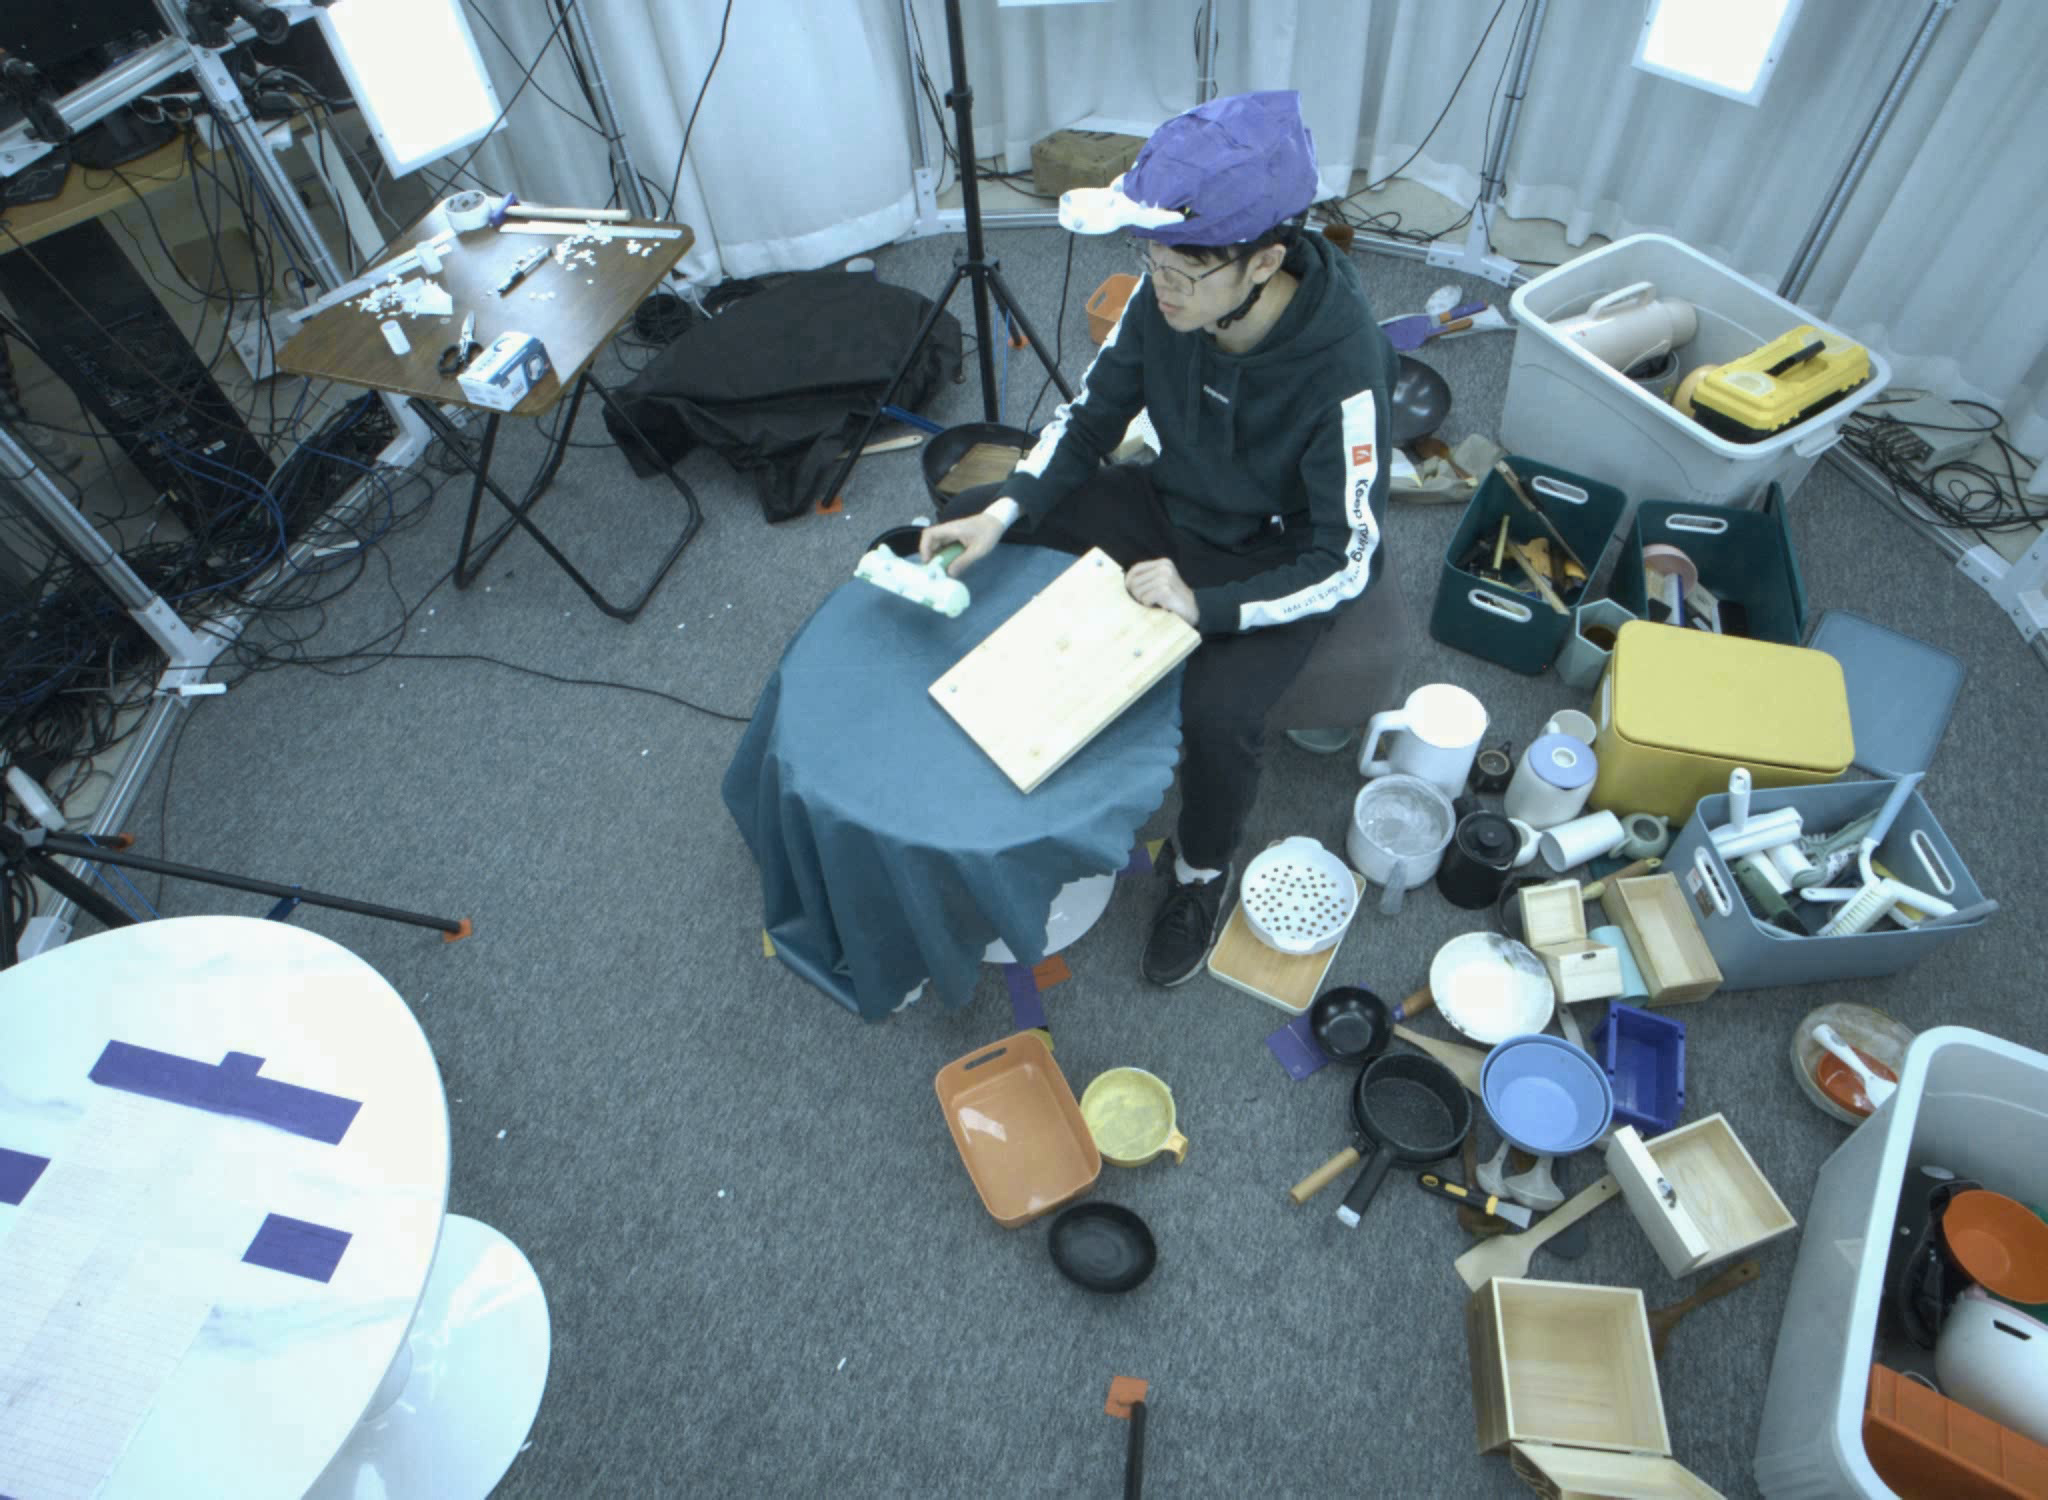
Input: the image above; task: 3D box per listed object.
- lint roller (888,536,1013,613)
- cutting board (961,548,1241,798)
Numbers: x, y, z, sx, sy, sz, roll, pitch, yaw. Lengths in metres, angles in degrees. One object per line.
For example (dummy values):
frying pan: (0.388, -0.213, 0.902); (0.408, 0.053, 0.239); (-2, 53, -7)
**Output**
lint roller: (-0.087, -0.299, 1.888); (0.194, 0.083, 0.184); (26, 58, 34)
cutting board: (0.105, -0.120, 1.797); (0.349, 0.024, 0.246); (-40, 61, -5)
